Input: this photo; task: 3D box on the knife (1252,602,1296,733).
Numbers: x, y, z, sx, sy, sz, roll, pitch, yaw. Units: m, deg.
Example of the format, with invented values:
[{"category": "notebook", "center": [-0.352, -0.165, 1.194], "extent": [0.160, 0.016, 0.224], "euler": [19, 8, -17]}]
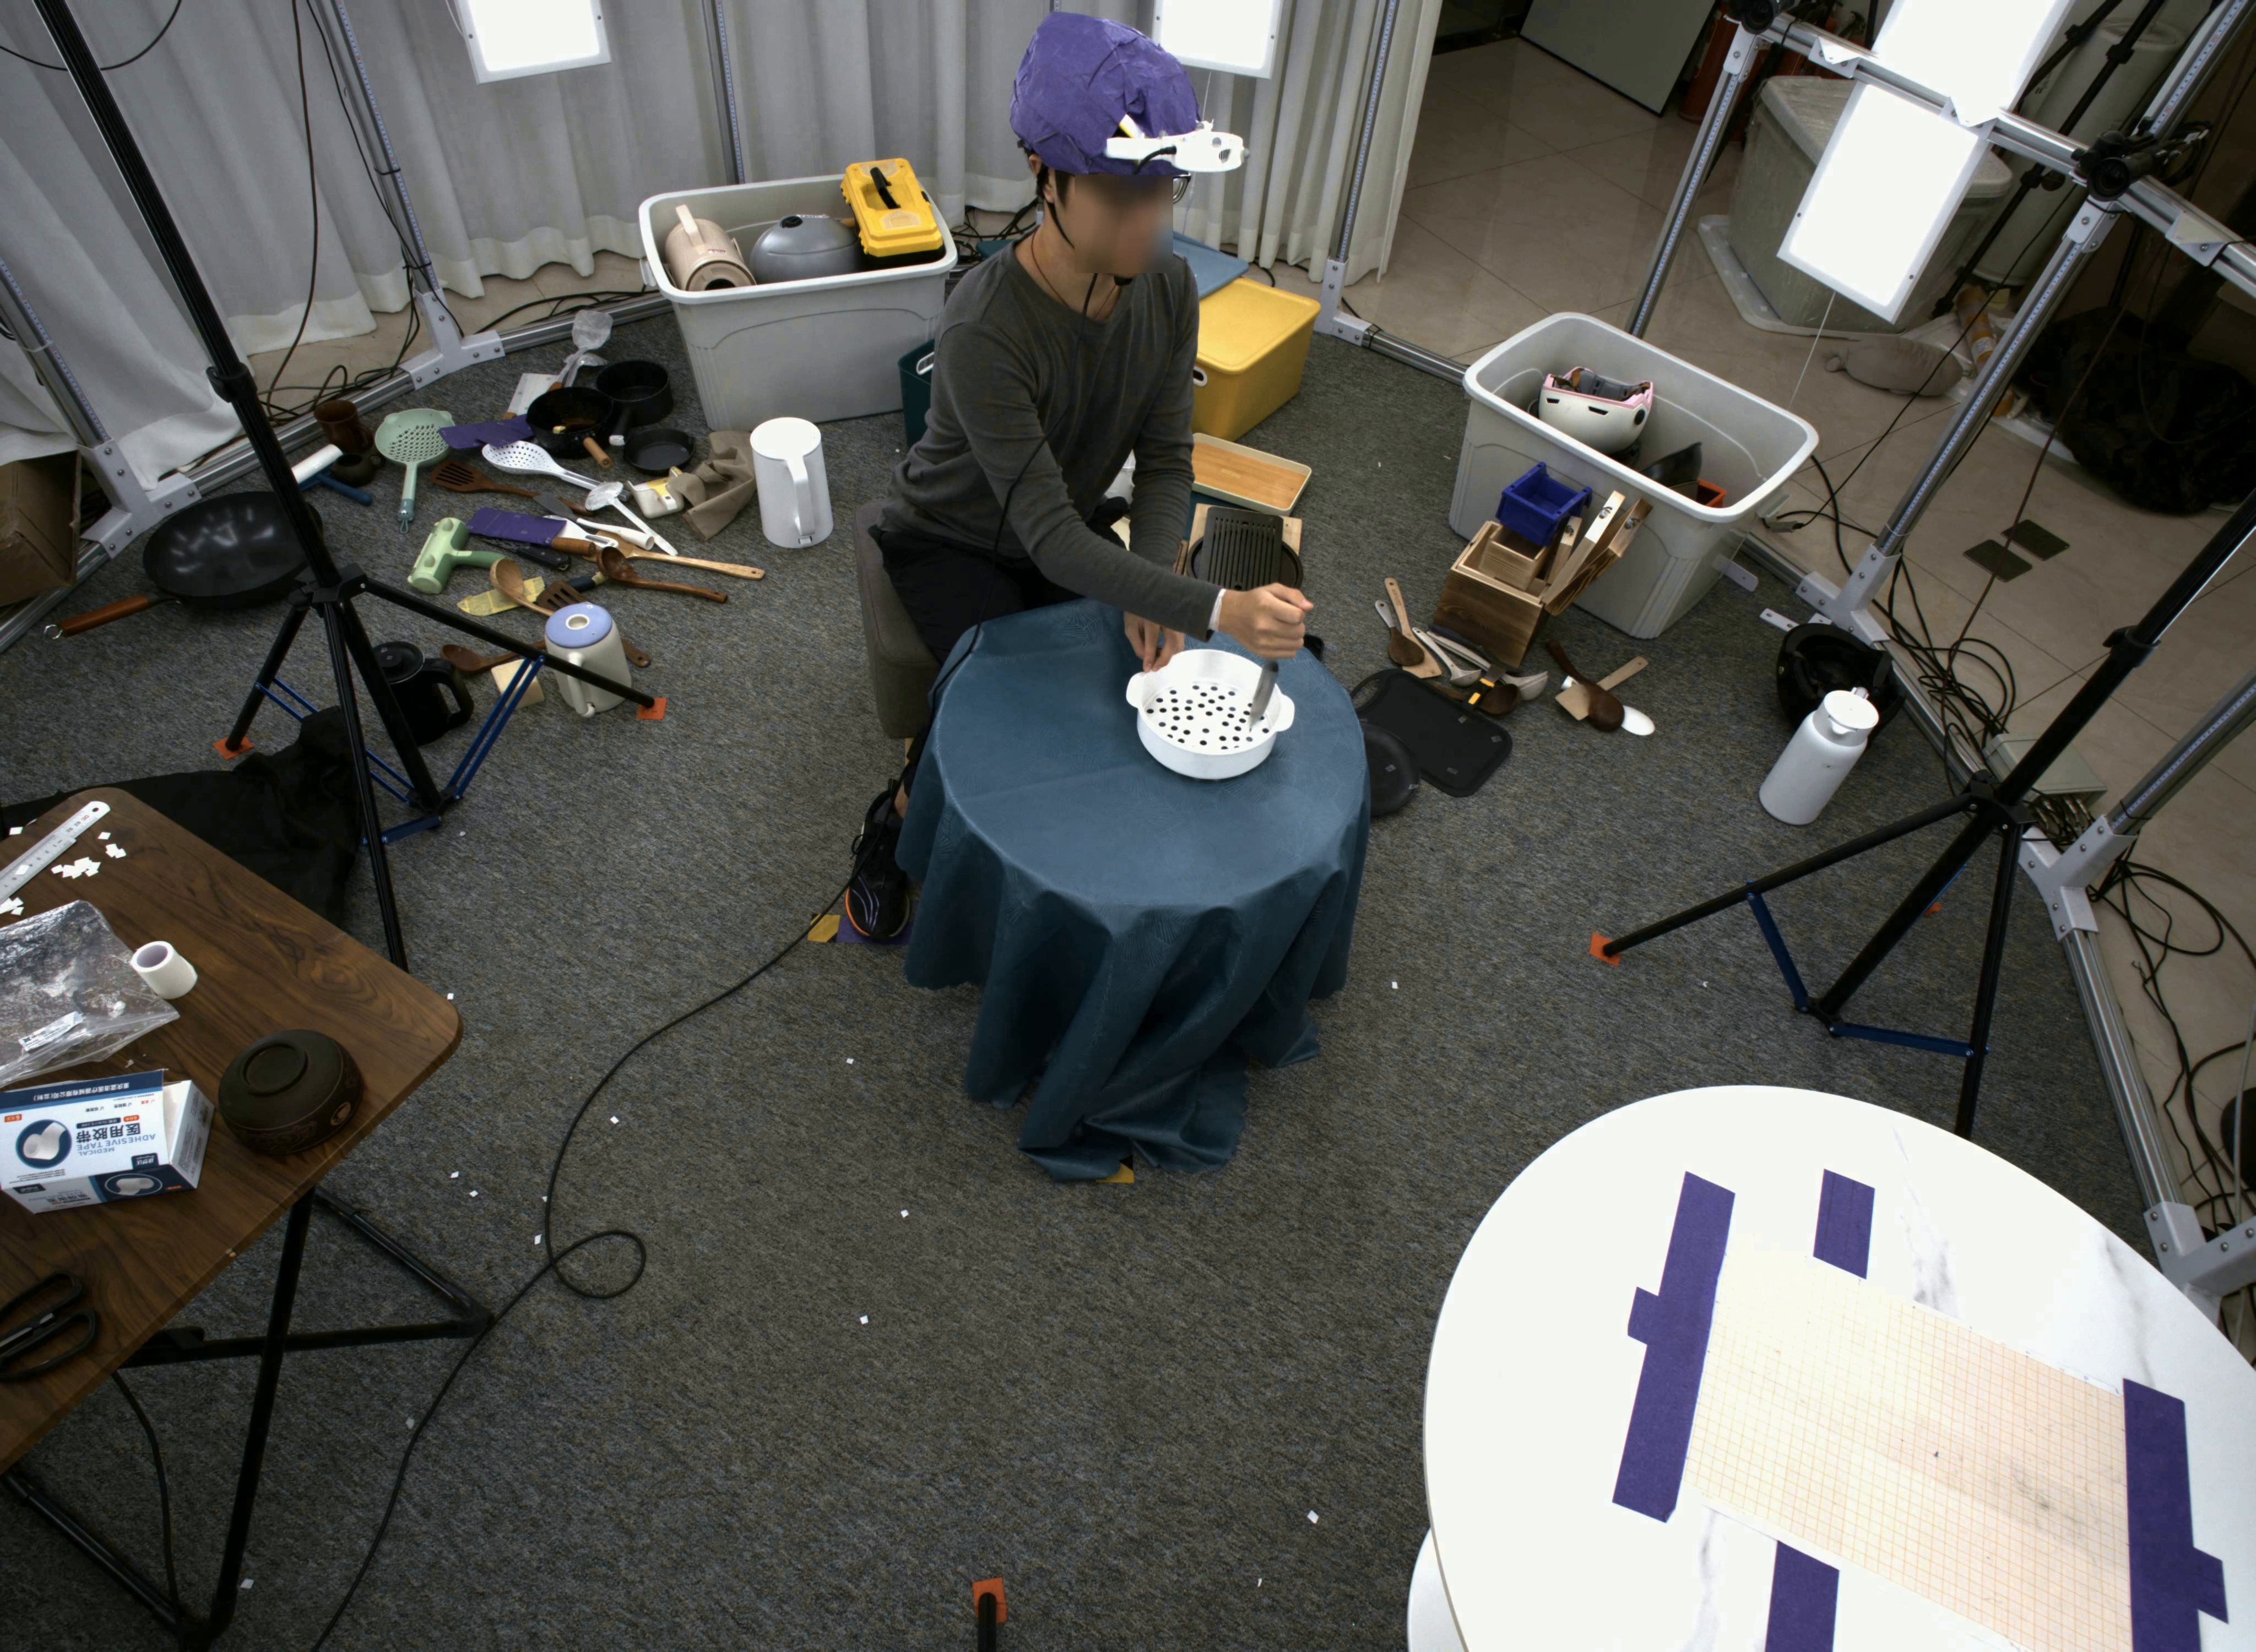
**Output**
[{"category": "knife", "center": [0.184, -0.202, 1.670], "extent": [0.024, 0.232, 0.016], "euler": [21, 51, 9]}]

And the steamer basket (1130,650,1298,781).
[{"category": "steamer basket", "center": [0.116, -0.152, 1.763], "extent": [0.231, 0.067, 0.206], "euler": [10, 49, 6]}]
